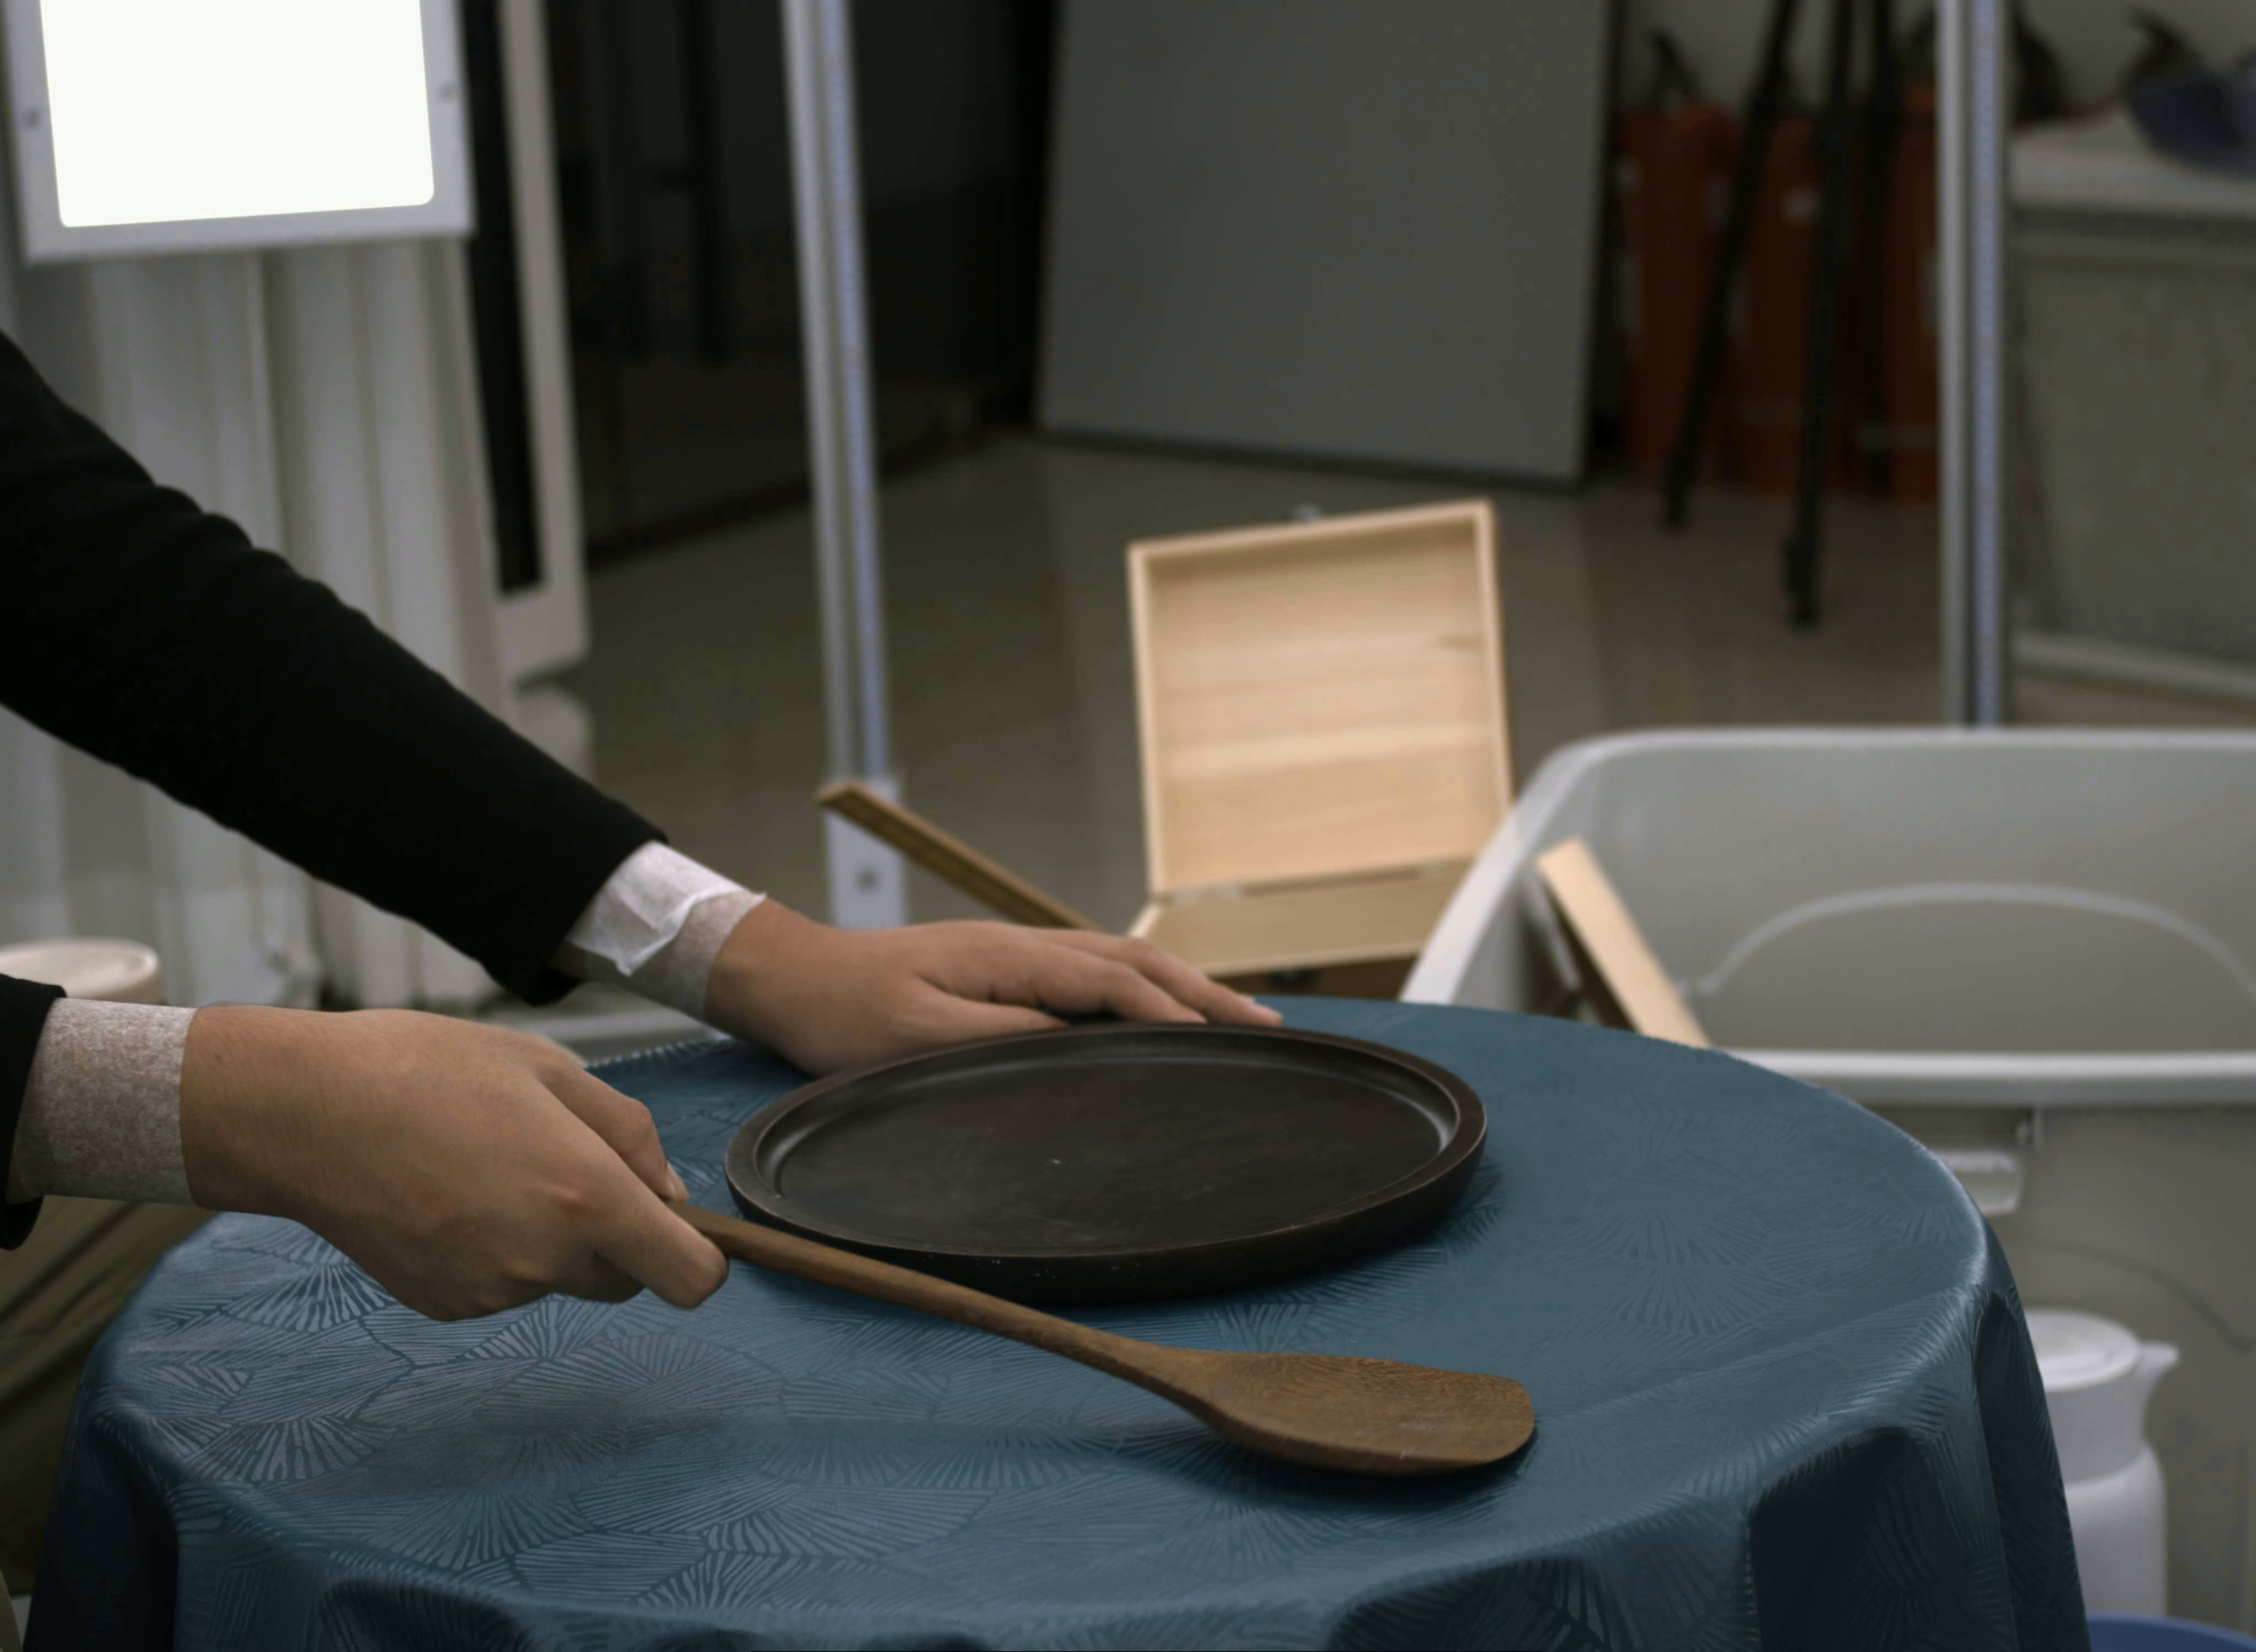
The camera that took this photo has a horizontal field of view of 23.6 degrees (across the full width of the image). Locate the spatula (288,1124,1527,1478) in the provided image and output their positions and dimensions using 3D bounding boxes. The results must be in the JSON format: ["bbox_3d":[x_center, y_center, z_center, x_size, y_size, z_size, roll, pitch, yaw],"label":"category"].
[{"bbox_3d":[-0.069,0.134,1.564,0.385,0.016,0.095,14,14,16],"label":"spatula"}]

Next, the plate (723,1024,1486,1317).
[{"bbox_3d":[-0.007,0.111,1.767,0.251,0.029,0.255,-4,15,0],"label":"plate"}]
